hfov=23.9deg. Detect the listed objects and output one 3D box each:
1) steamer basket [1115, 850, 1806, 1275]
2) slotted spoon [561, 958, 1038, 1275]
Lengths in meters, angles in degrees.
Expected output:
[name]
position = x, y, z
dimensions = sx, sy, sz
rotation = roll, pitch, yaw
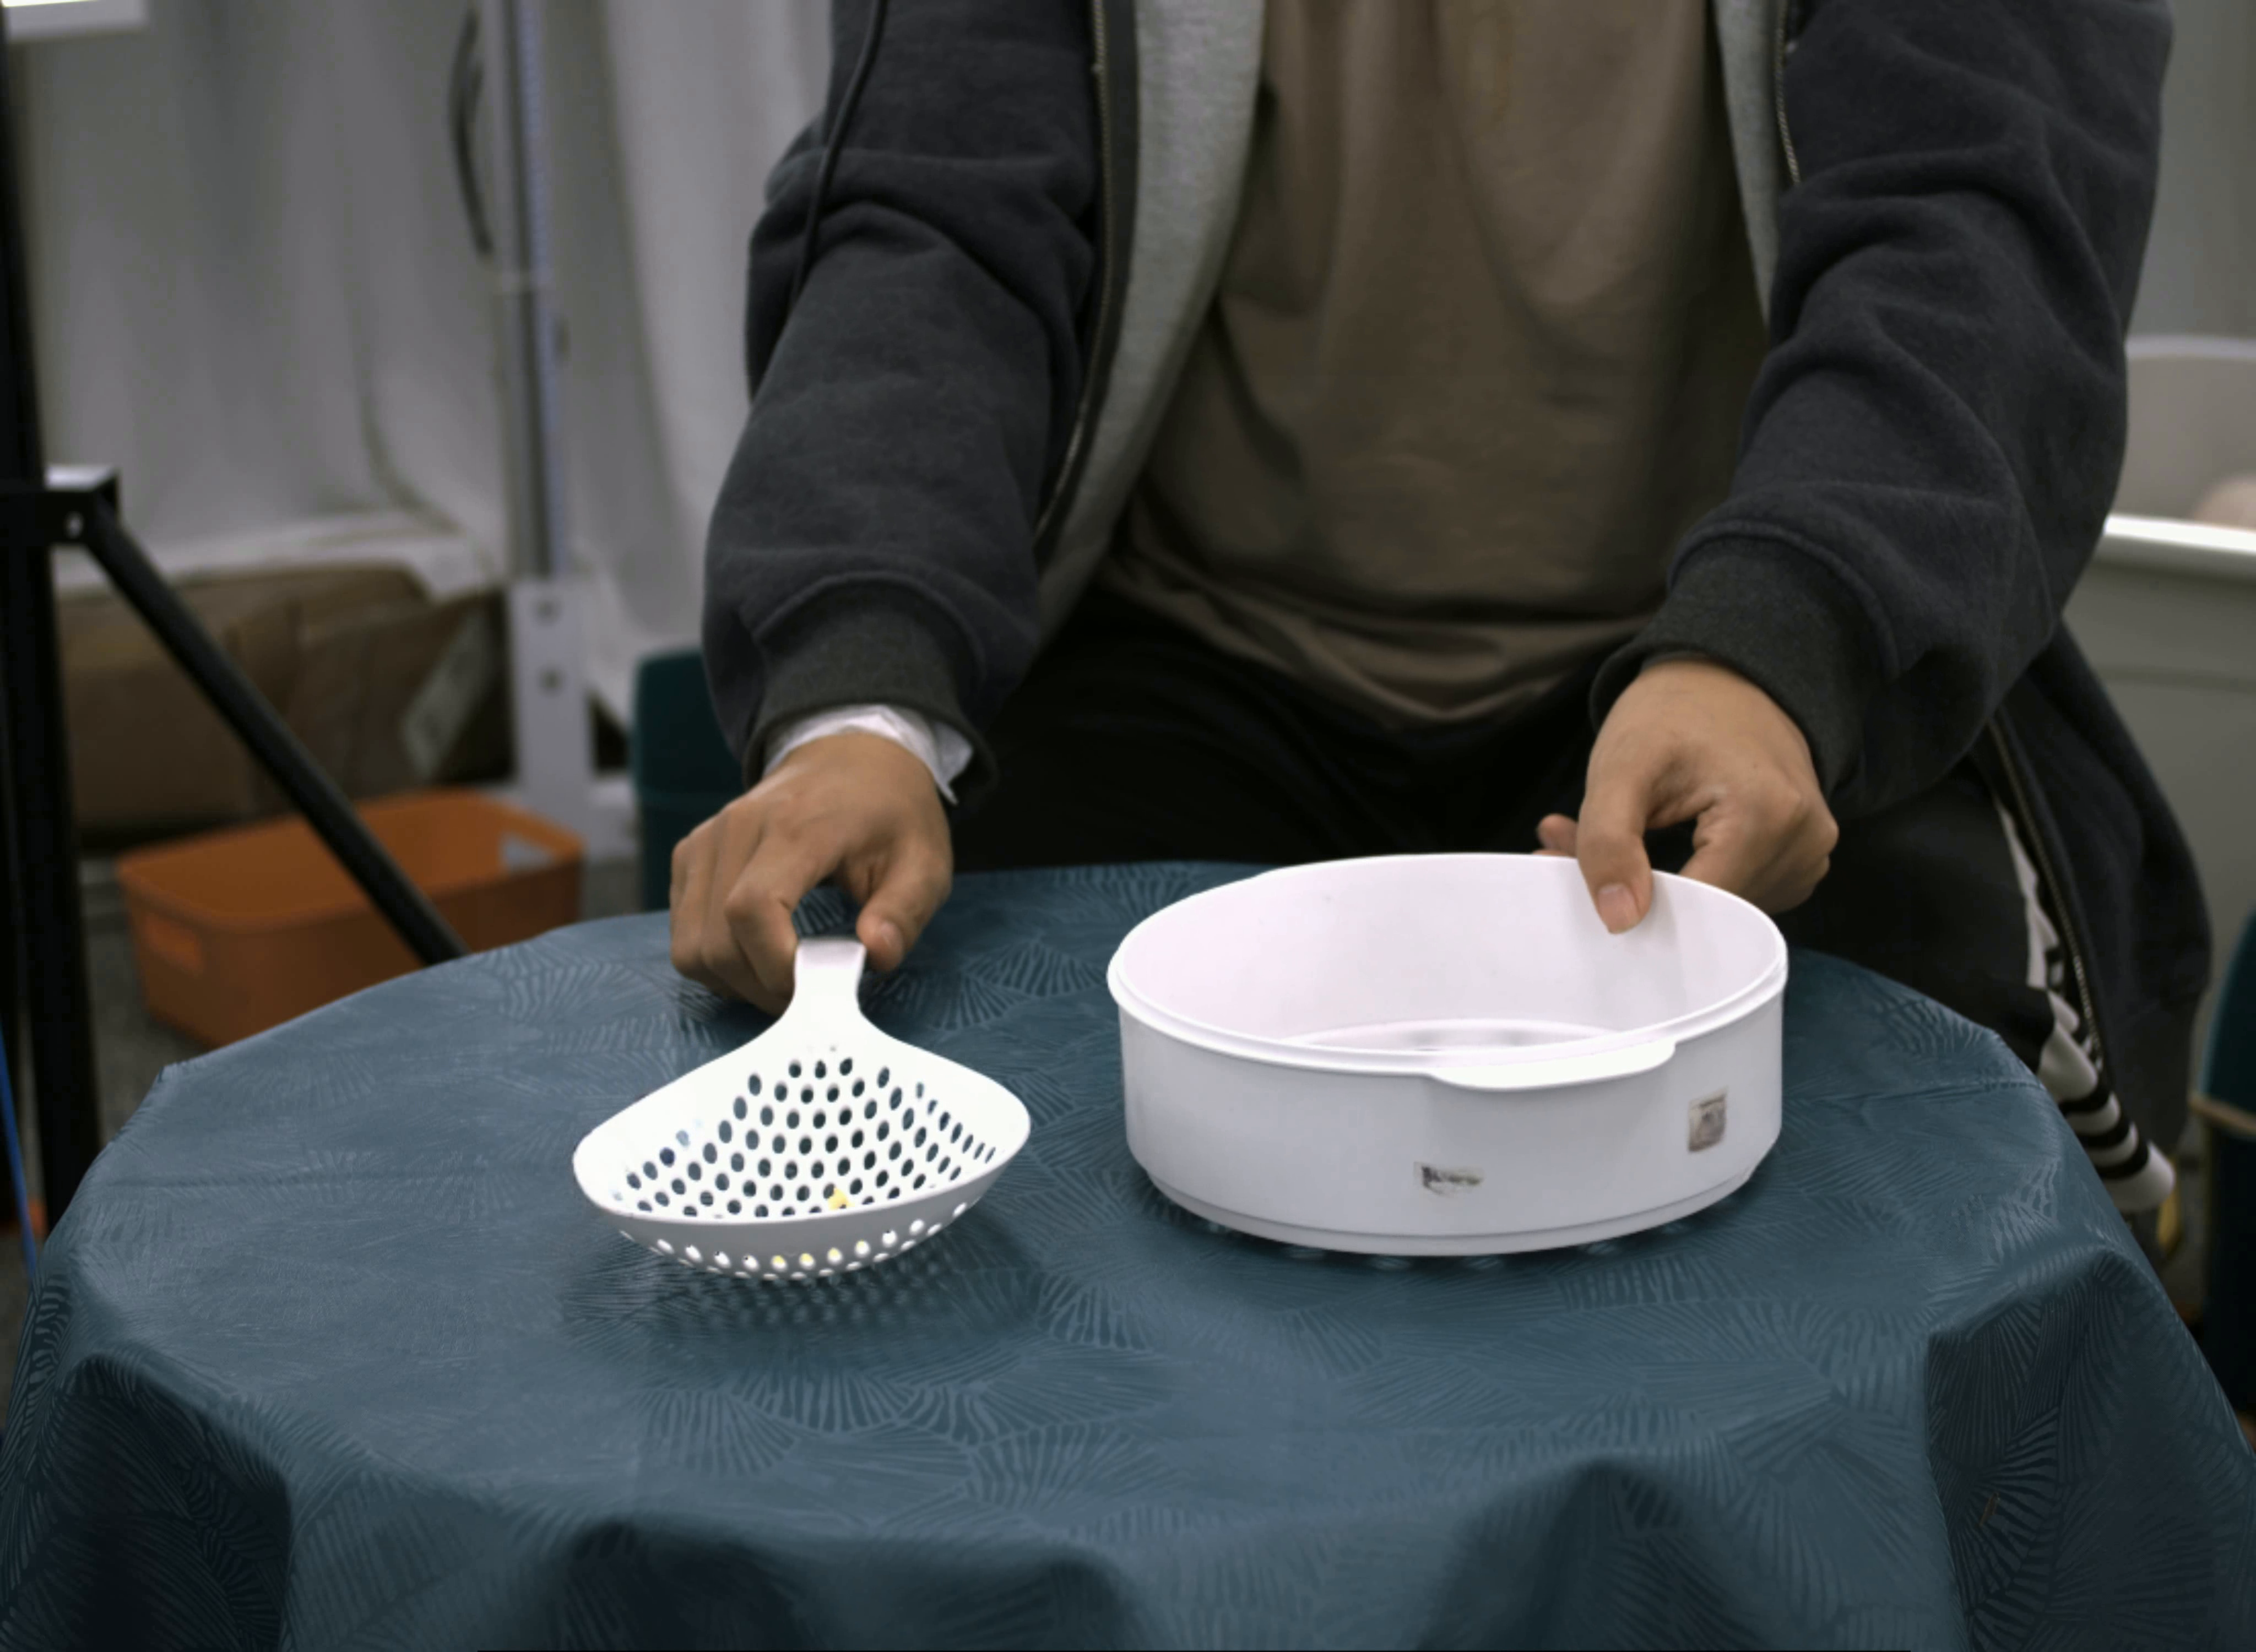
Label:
[steamer basket]
position = 0.098, 0.069, 1.556
dimensions = 0.199, 0.069, 0.234
rotation = -6, 18, -12
[slotted spoon]
position = -0.094, 0.074, 1.617
dimensions = 0.136, 0.050, 0.349
rotation = -8, 16, 1
